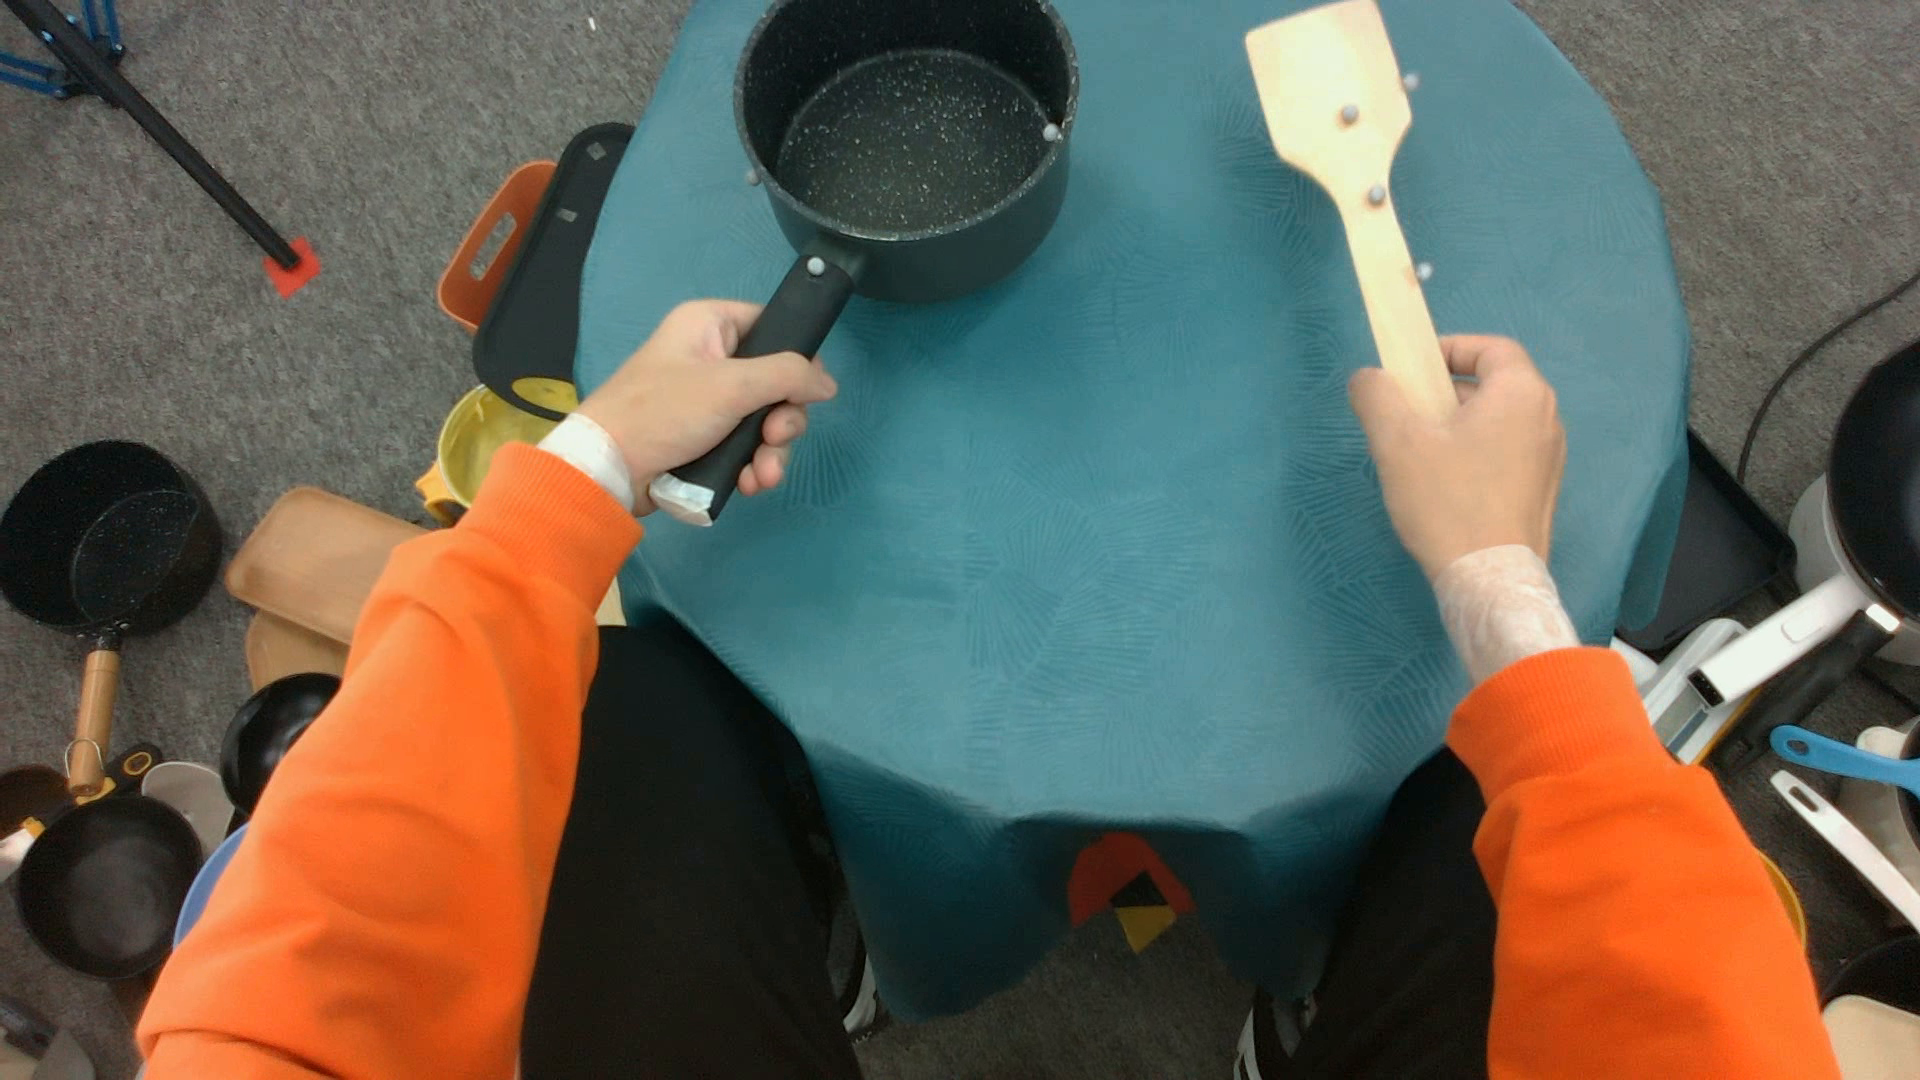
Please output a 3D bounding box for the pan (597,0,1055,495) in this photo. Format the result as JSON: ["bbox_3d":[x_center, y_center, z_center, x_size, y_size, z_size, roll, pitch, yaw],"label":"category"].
[{"bbox_3d":[-0.072,-0.153,0.687,0.172,0.086,0.330,24,72,12],"label":"pan"}]

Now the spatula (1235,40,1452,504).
[{"bbox_3d":[0.197,-0.143,0.686,0.072,0.010,0.294,-7,60,4],"label":"spatula"}]
